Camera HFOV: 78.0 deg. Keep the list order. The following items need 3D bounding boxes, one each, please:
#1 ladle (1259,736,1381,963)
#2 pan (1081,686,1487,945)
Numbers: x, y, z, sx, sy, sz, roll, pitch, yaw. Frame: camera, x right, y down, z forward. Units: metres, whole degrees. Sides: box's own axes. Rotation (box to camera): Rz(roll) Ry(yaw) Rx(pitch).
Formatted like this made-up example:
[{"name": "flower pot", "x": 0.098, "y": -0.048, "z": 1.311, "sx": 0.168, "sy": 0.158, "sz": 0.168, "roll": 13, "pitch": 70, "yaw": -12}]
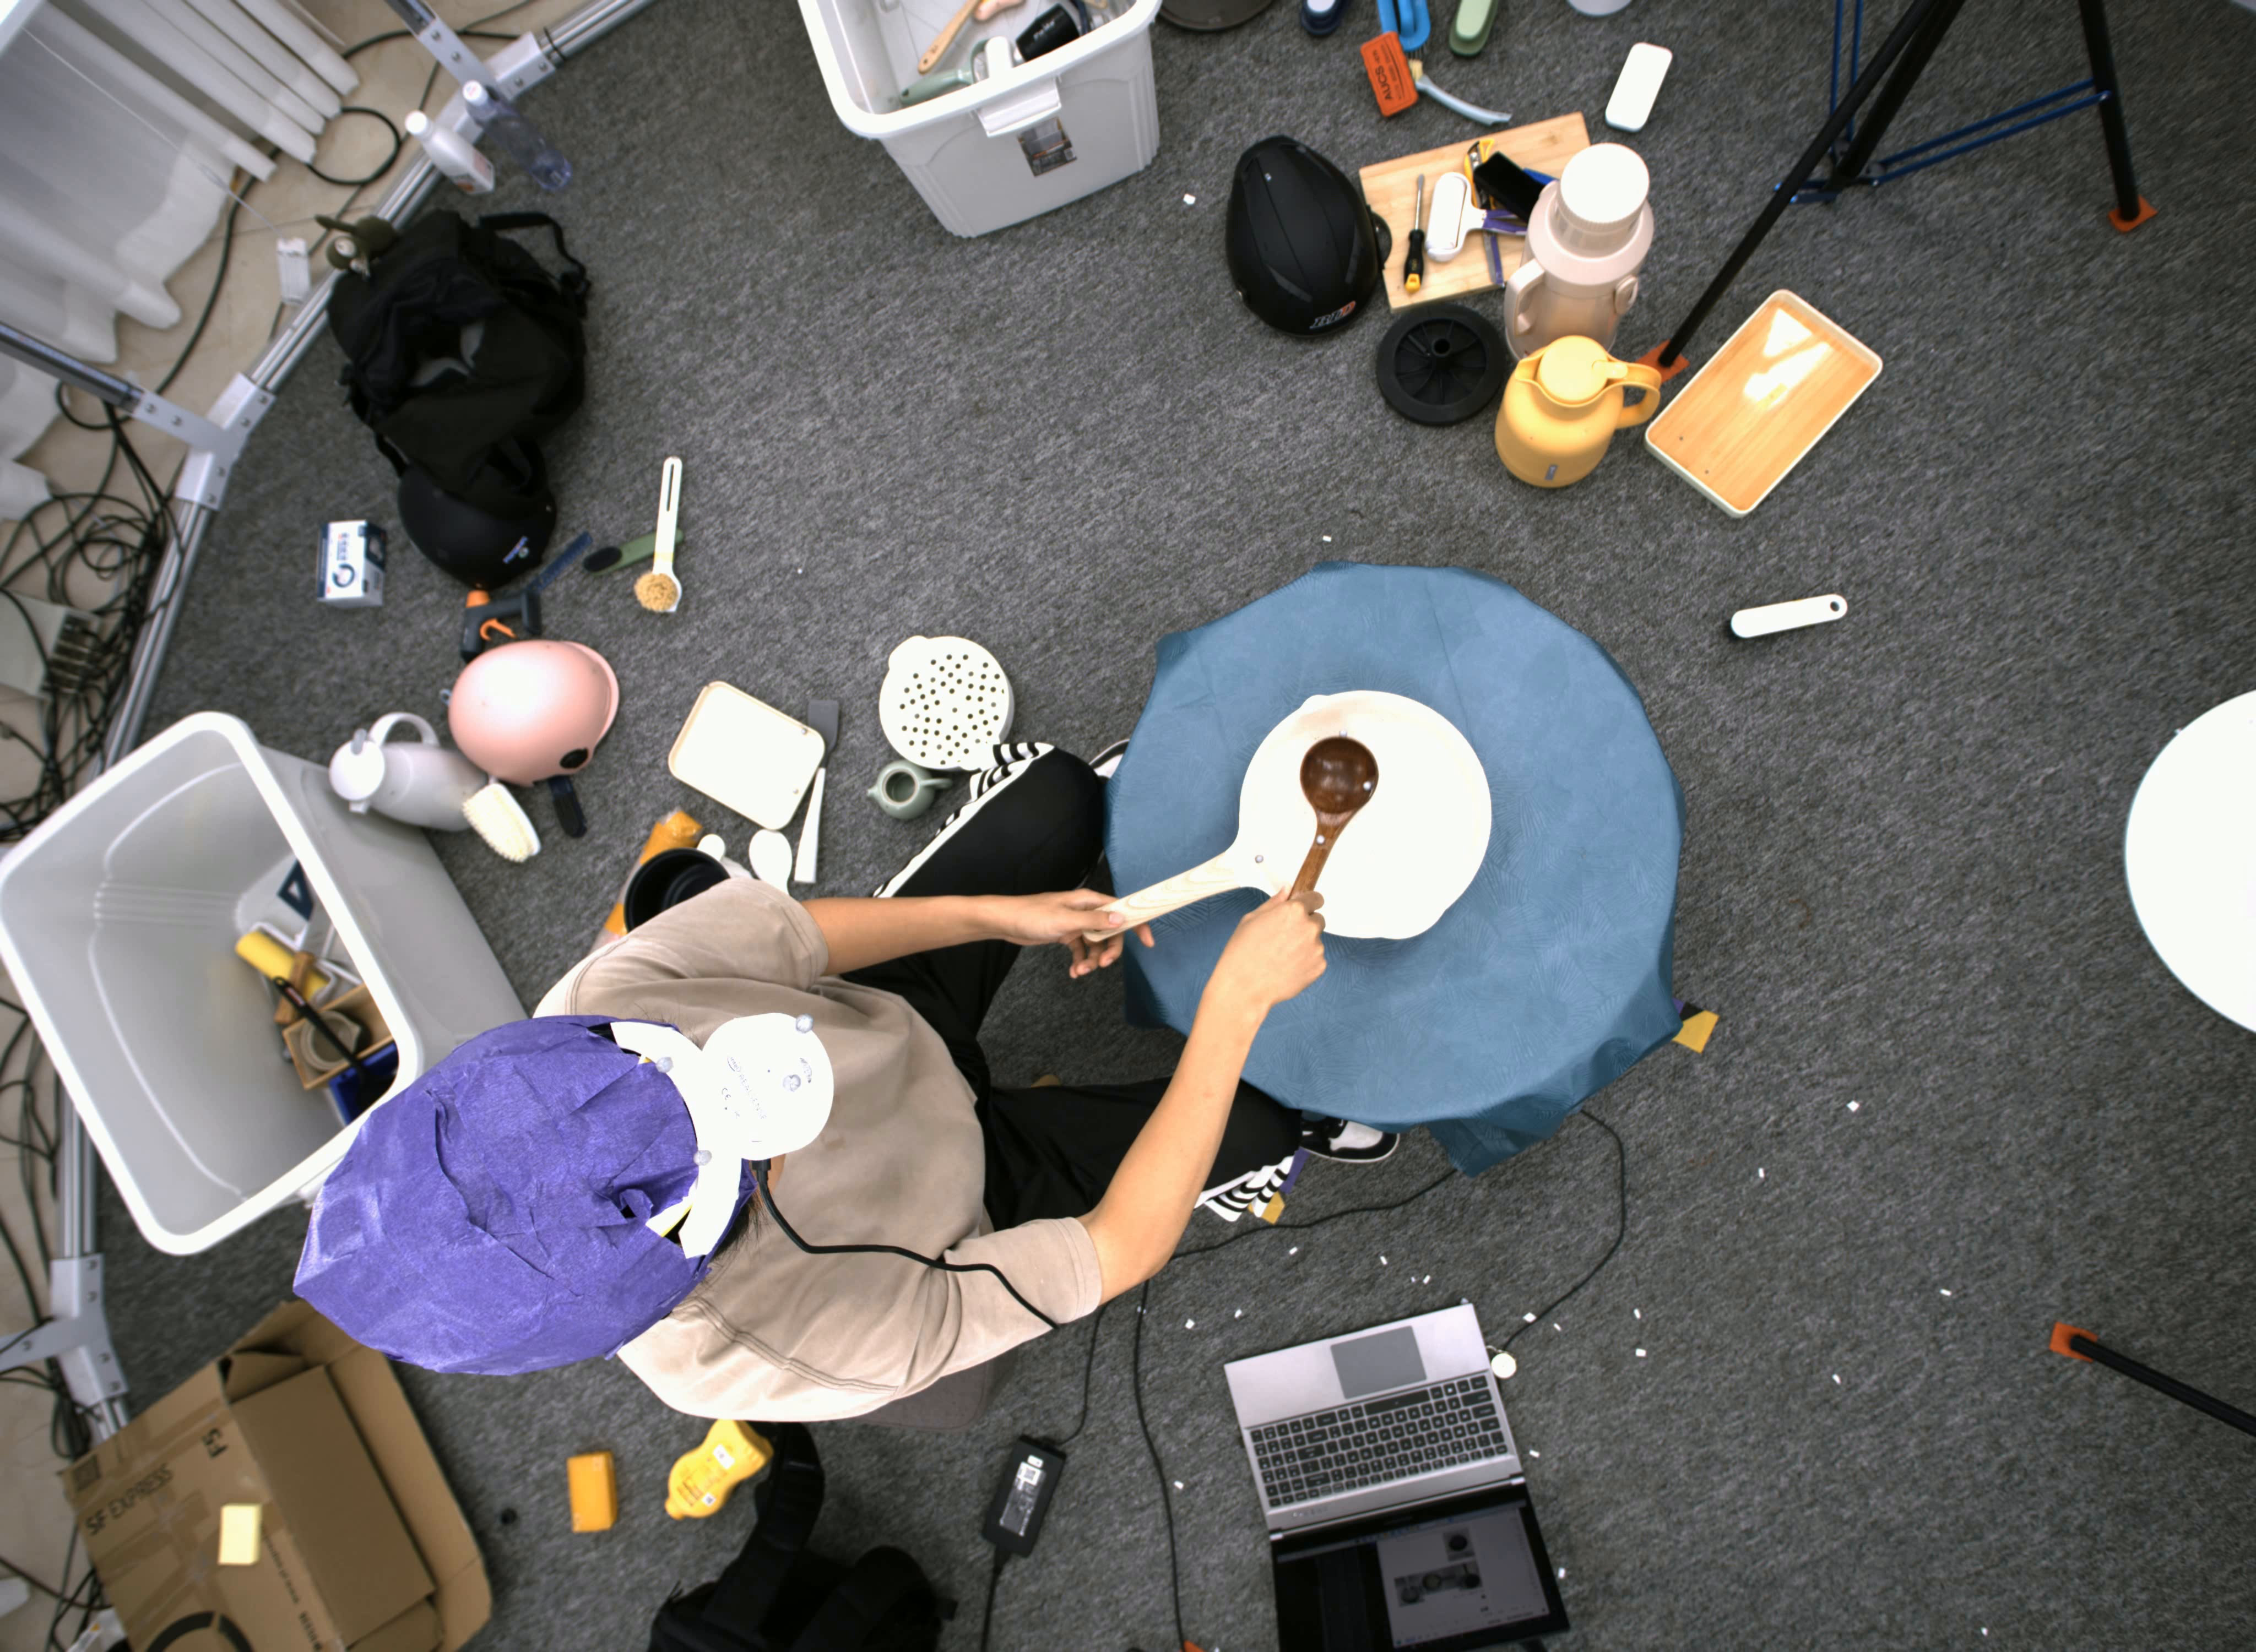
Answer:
[{"name": "ladle", "x": 0.175, "y": 0.013, "z": 1.320, "sx": 0.082, "sy": 0.267, "sz": 0.078, "roll": 1, "pitch": 128, "yaw": 29}, {"name": "pan", "x": 0.157, "y": 0.023, "z": 1.435, "sx": 0.437, "sy": 0.102, "sz": 0.262, "roll": -24, "pitch": 84, "yaw": 8}]
